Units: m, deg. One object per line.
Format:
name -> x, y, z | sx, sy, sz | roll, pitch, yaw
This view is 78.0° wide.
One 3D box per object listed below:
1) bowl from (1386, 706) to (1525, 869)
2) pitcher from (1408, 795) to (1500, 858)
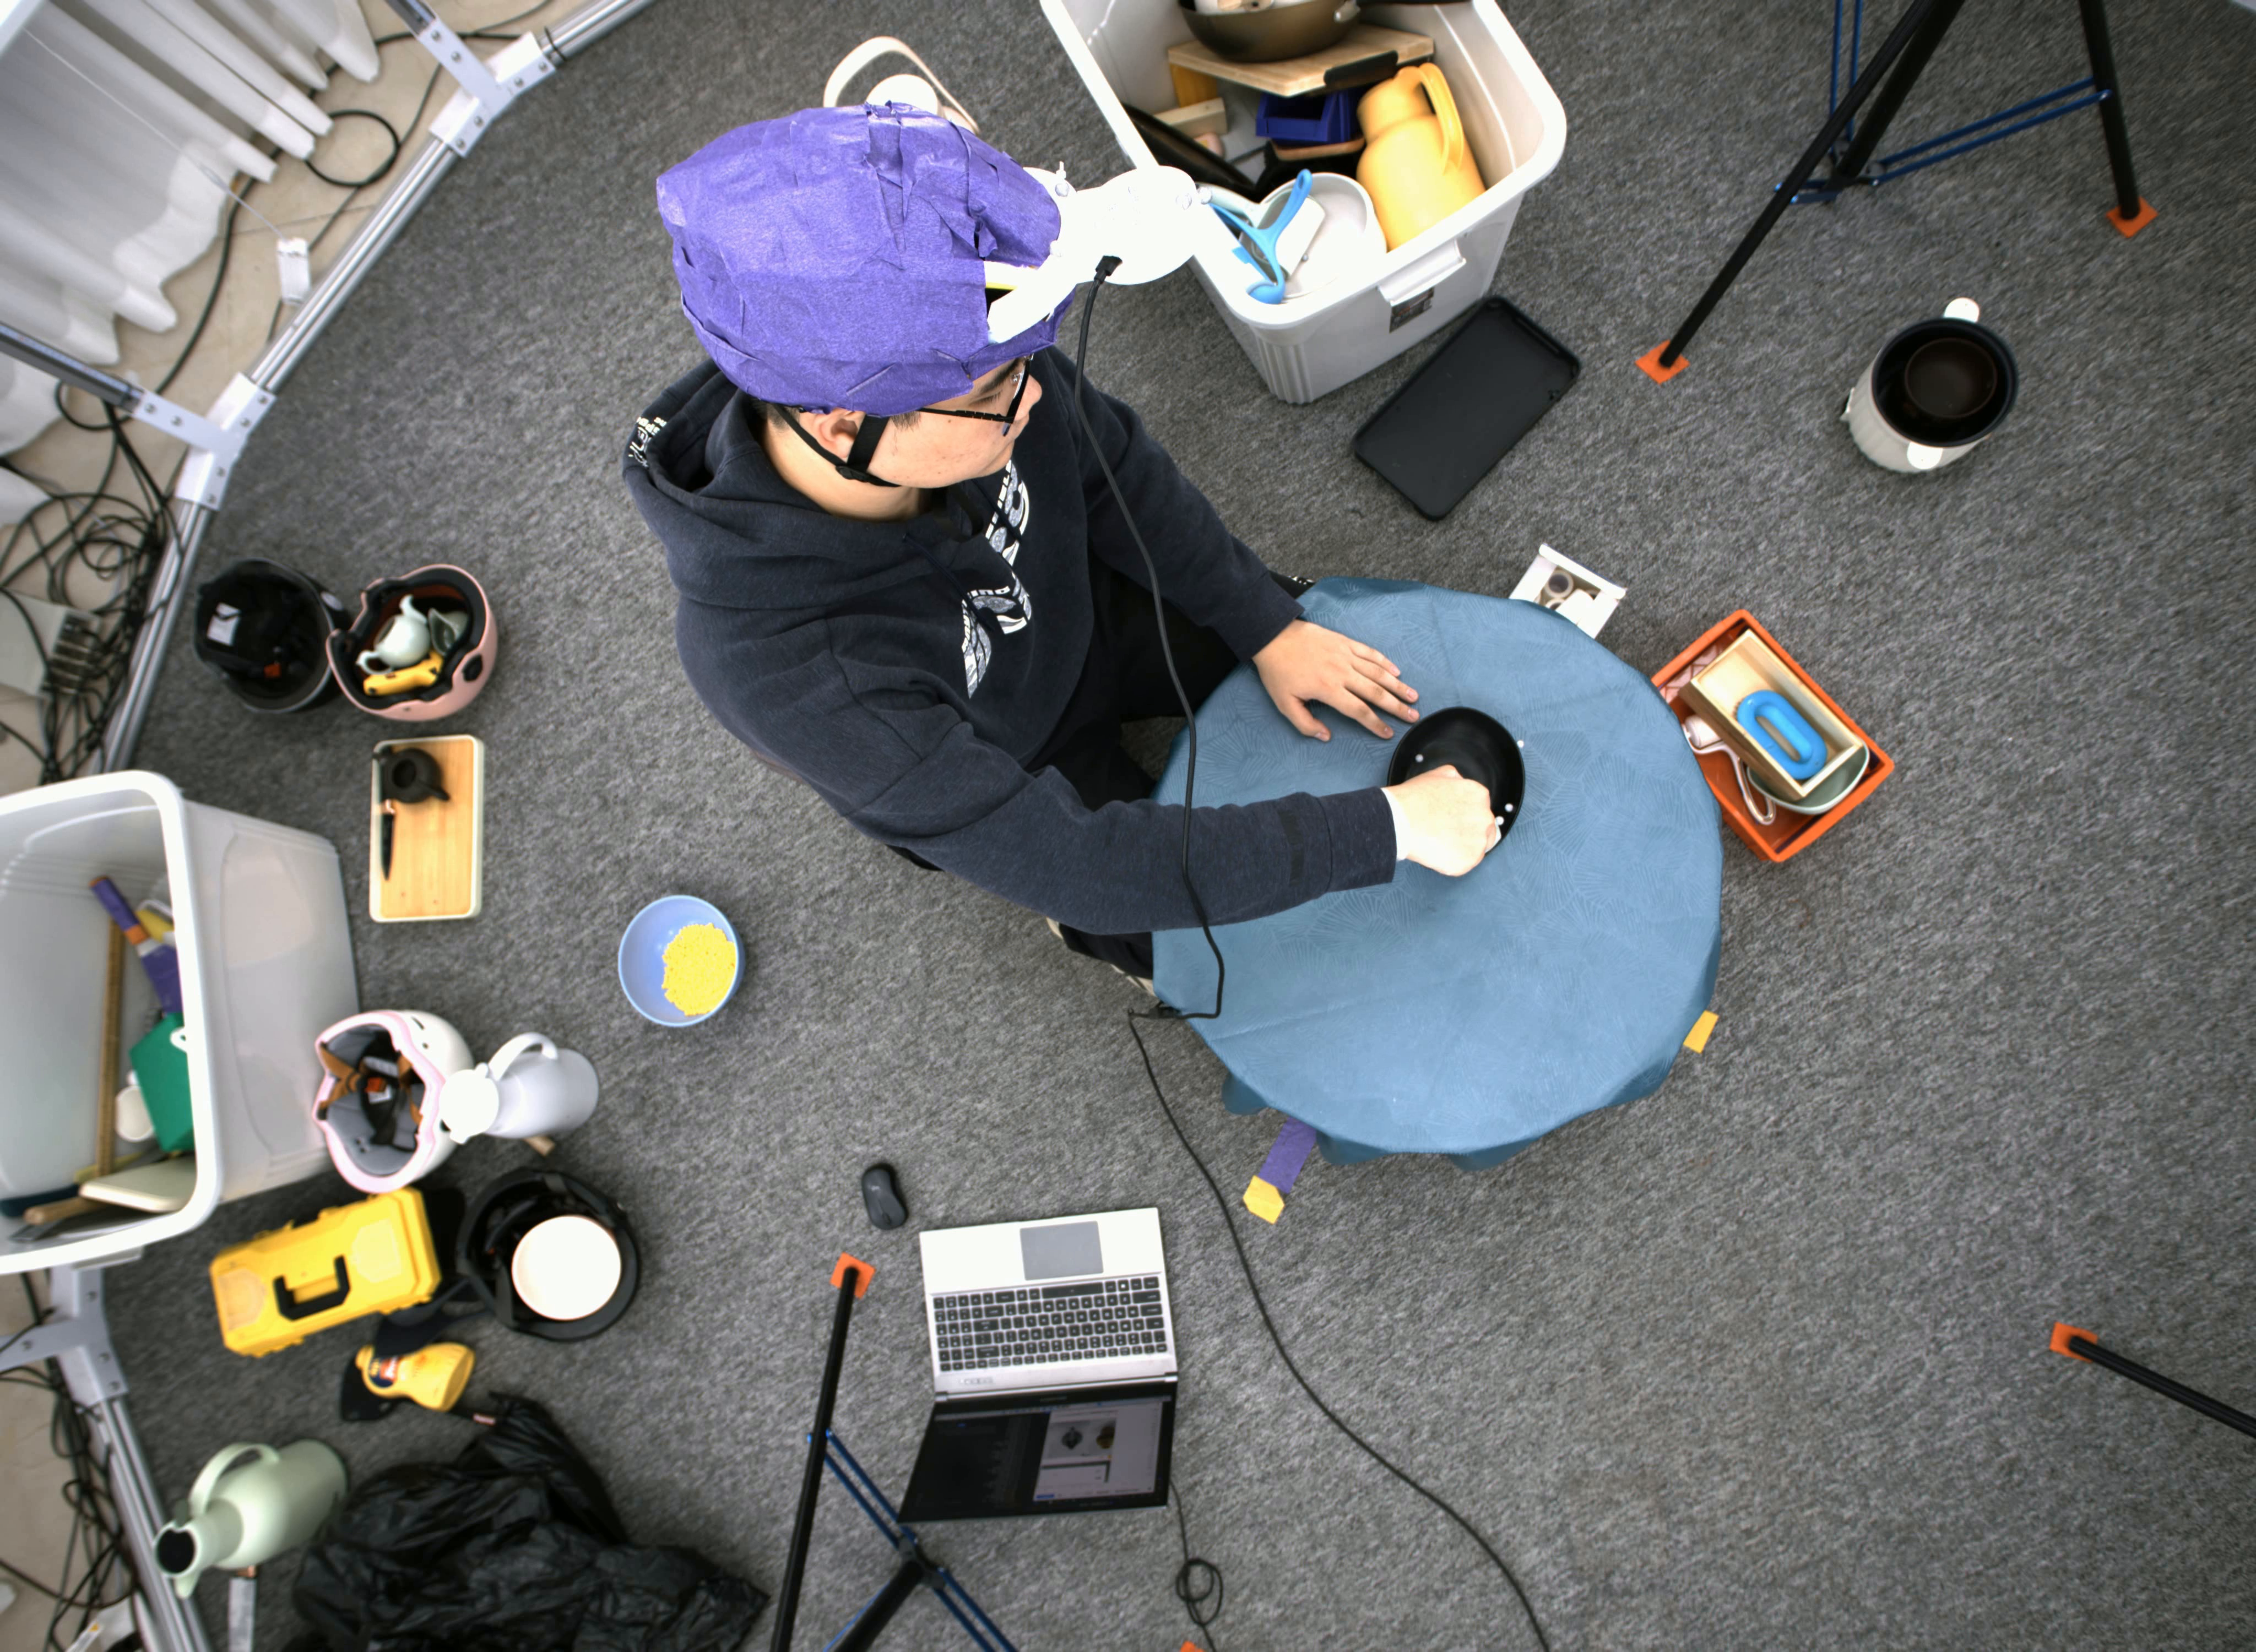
bowl -> 0.337, -0.039, 1.423 | 0.137, 0.066, 0.170 | 12, 89, 12
pitcher -> 0.311, -0.001, 1.304 | 0.086, 0.107, 0.060 | 0, 92, 4
